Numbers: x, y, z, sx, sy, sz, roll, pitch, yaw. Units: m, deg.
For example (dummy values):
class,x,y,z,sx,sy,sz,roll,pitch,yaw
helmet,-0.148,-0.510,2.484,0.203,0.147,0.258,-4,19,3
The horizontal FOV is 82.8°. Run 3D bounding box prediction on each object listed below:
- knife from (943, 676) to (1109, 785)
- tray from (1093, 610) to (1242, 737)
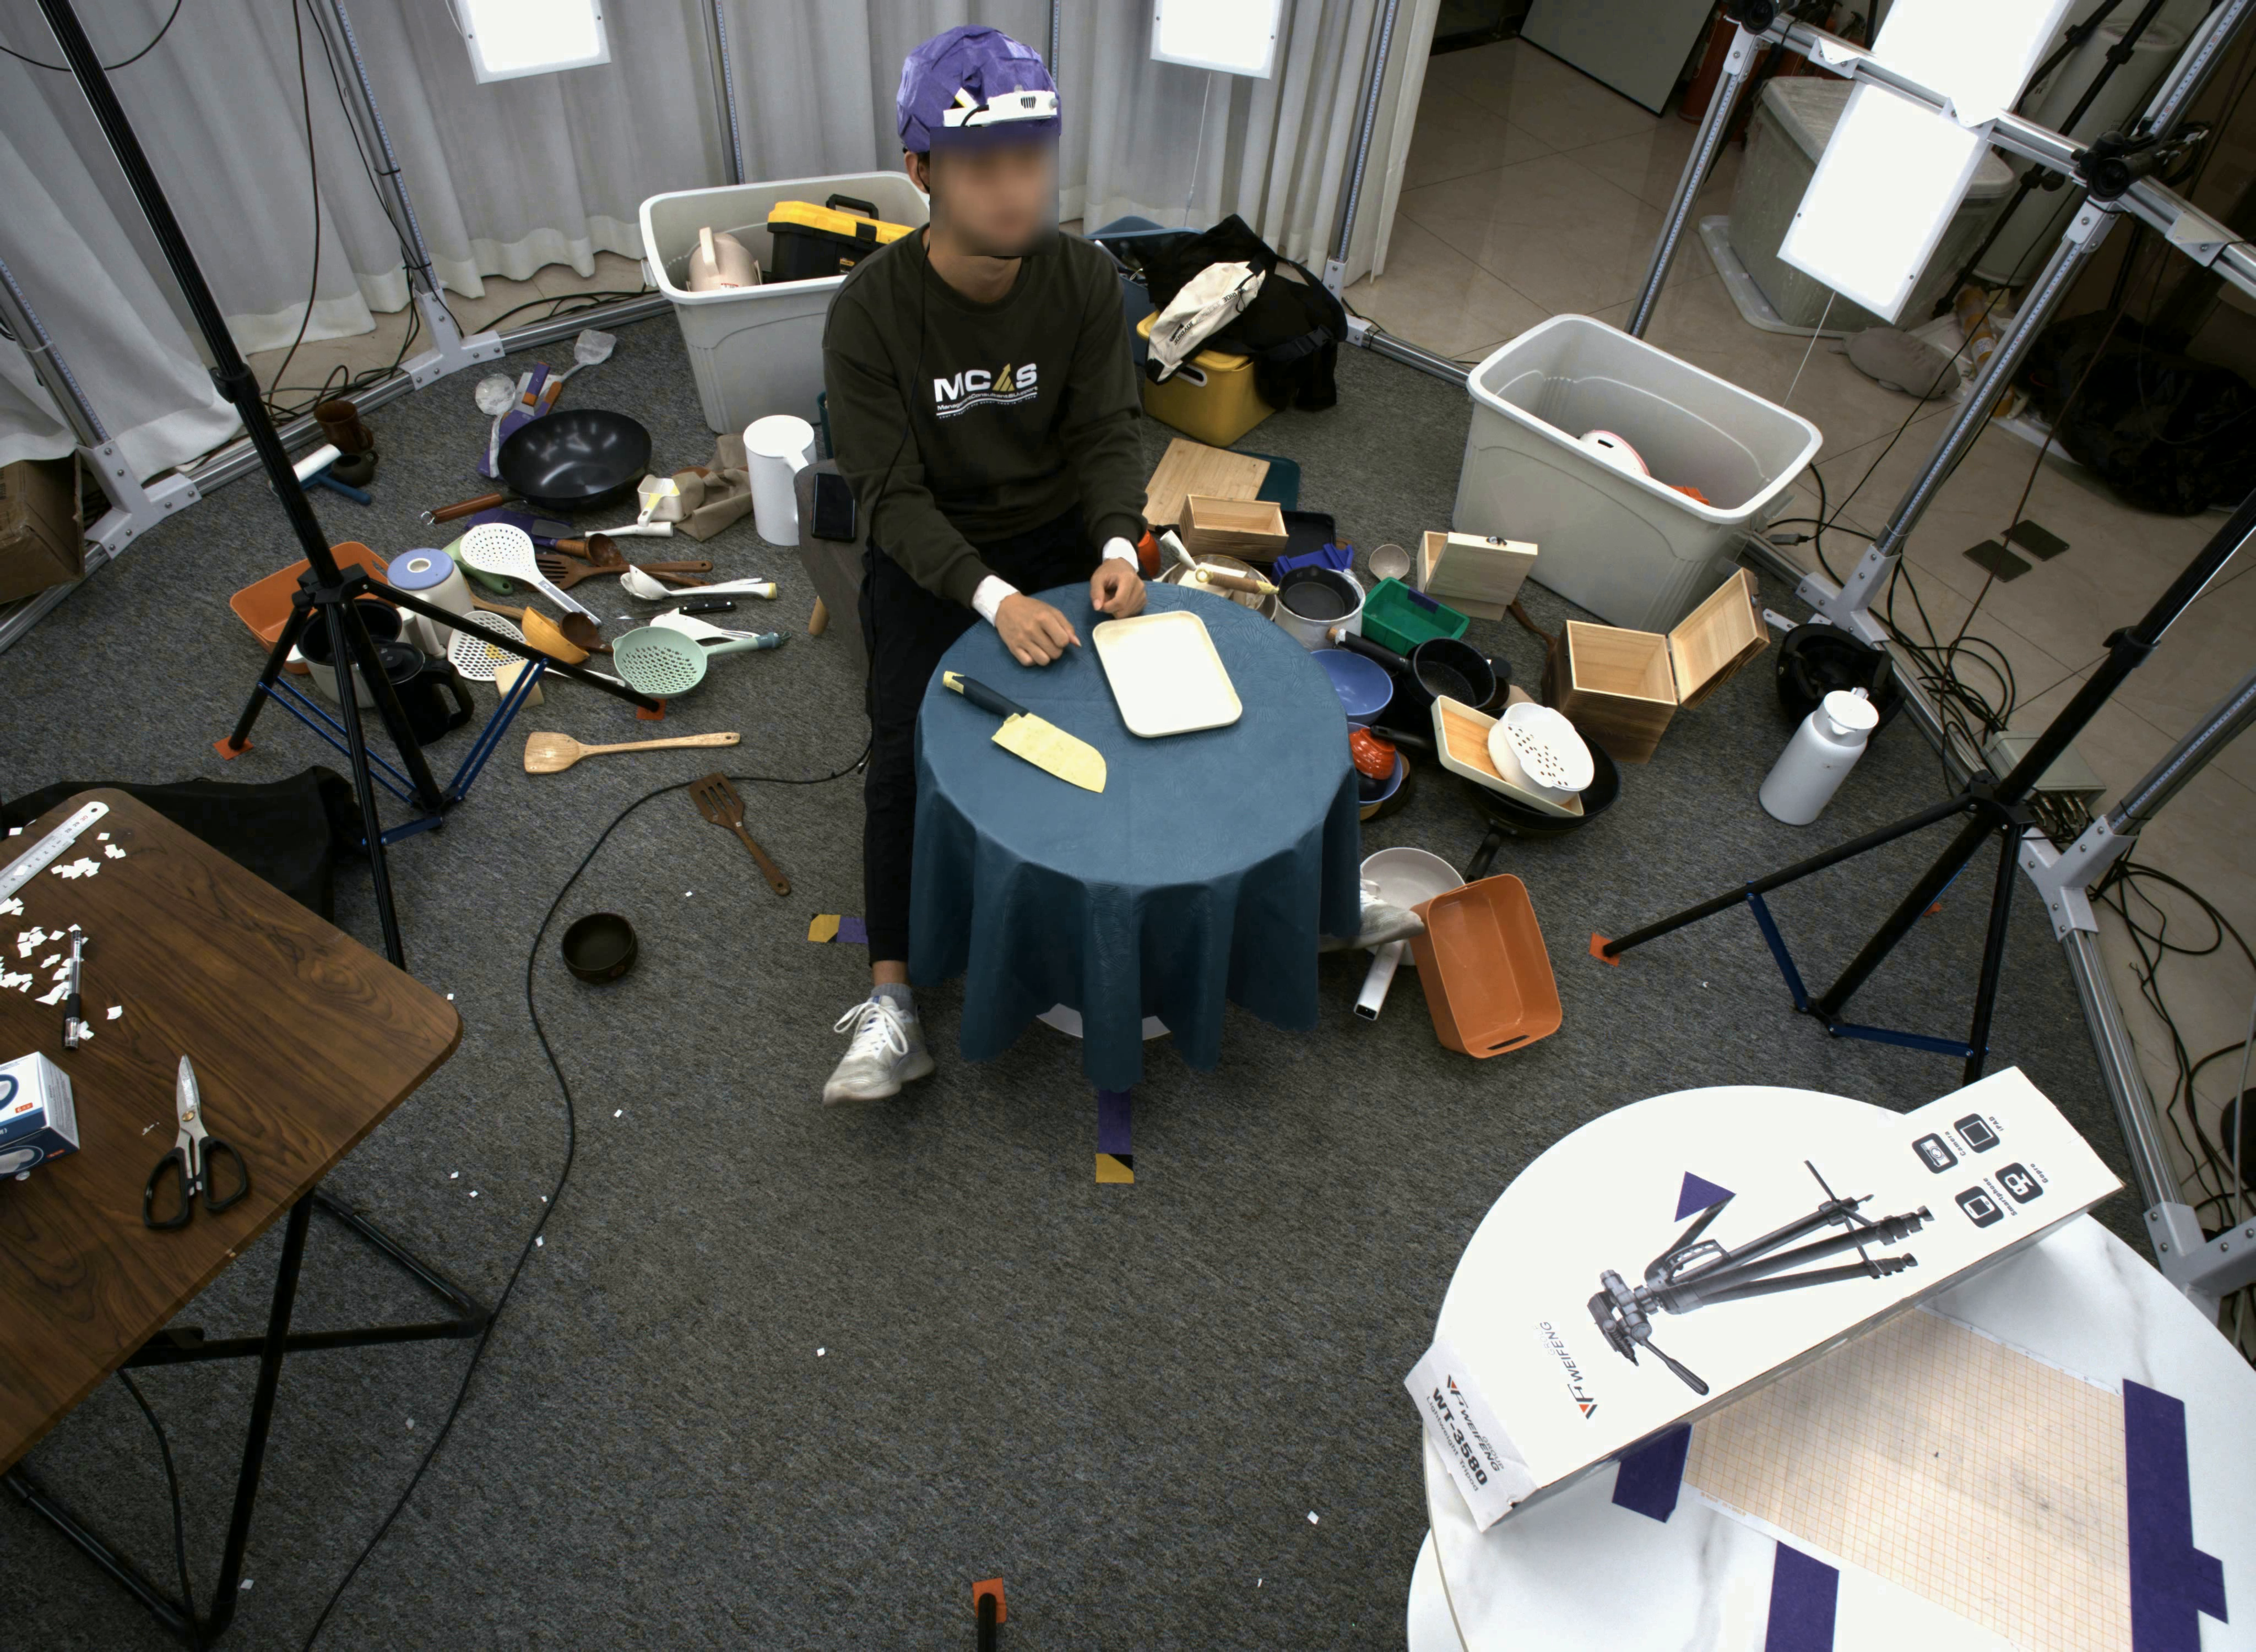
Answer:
class,x,y,z,sx,sy,sz,roll,pitch,yaw
knife,-0.146,-0.130,1.761,0.292,0.026,0.082,31,52,20
tray,0.054,-0.221,1.851,0.171,0.017,0.245,-10,50,-12
